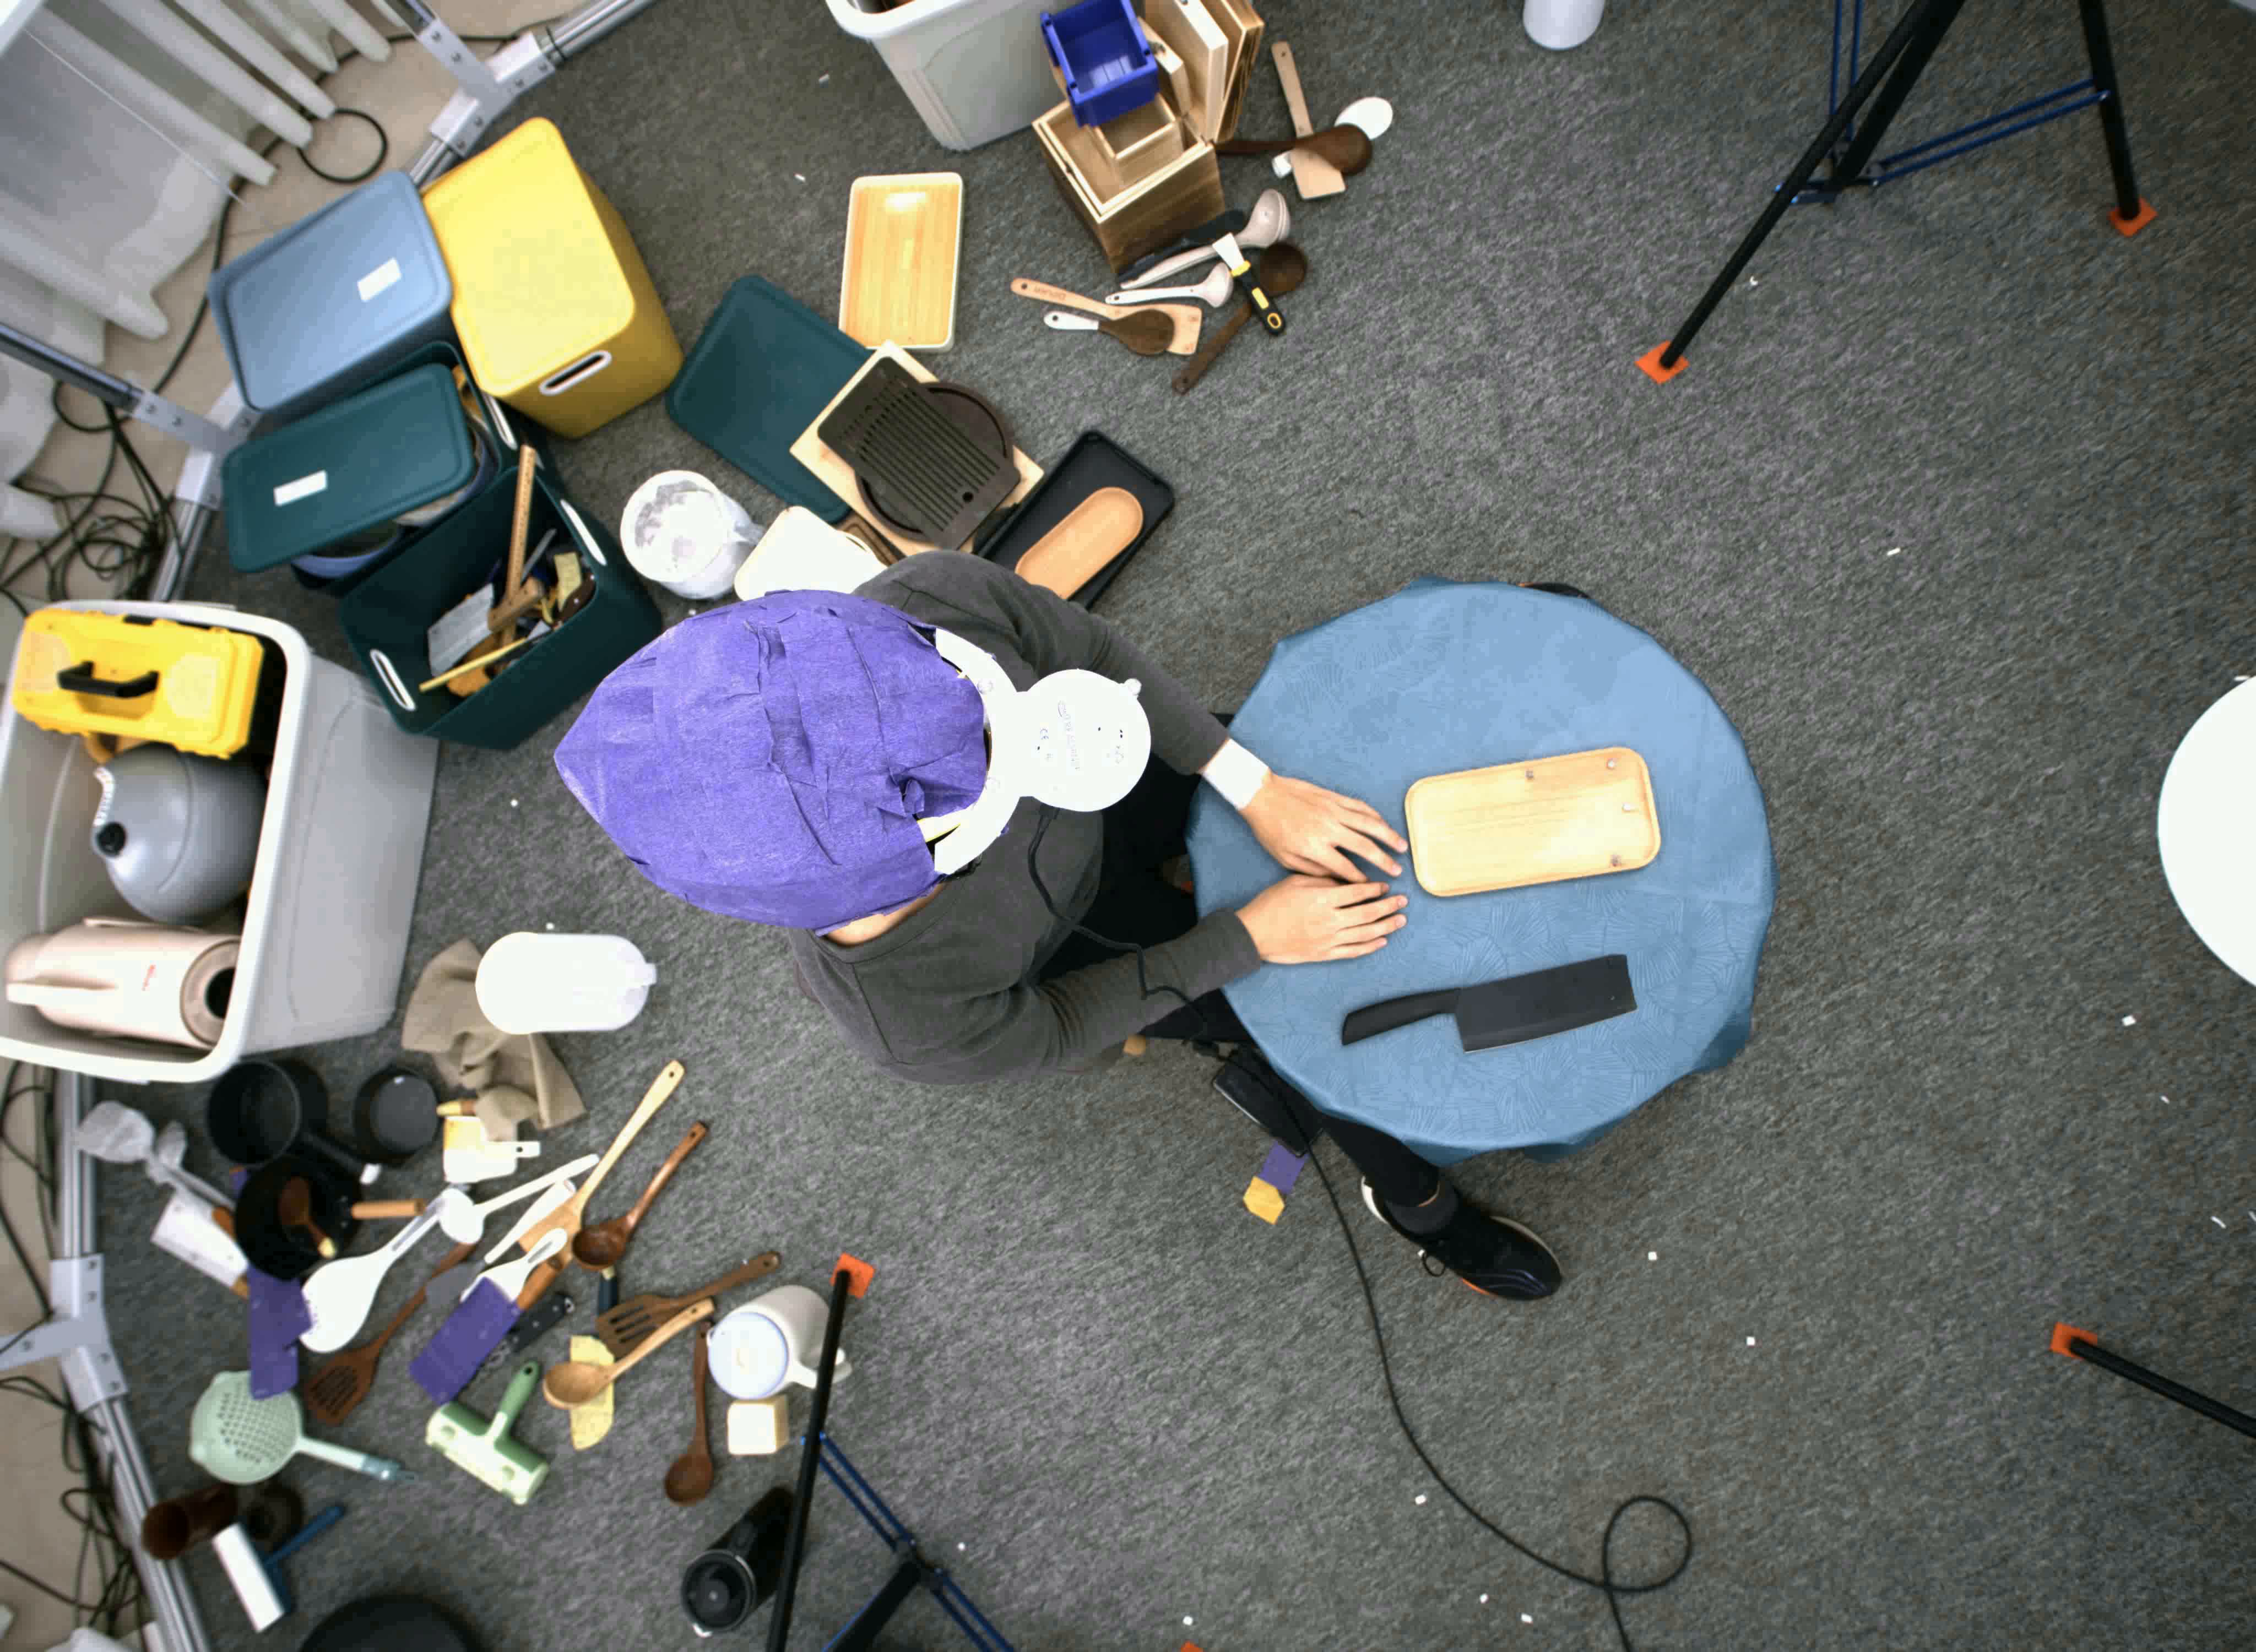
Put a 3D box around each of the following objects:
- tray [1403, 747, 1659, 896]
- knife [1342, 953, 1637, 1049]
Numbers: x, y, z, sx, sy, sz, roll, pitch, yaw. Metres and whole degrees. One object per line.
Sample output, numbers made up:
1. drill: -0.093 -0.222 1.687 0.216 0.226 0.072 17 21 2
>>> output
1. tray: 0.418 -0.006 1.429 0.252 0.023 0.129 -8 83 11
2. knife: 0.371 0.189 1.428 0.304 0.021 0.080 -10 86 8
